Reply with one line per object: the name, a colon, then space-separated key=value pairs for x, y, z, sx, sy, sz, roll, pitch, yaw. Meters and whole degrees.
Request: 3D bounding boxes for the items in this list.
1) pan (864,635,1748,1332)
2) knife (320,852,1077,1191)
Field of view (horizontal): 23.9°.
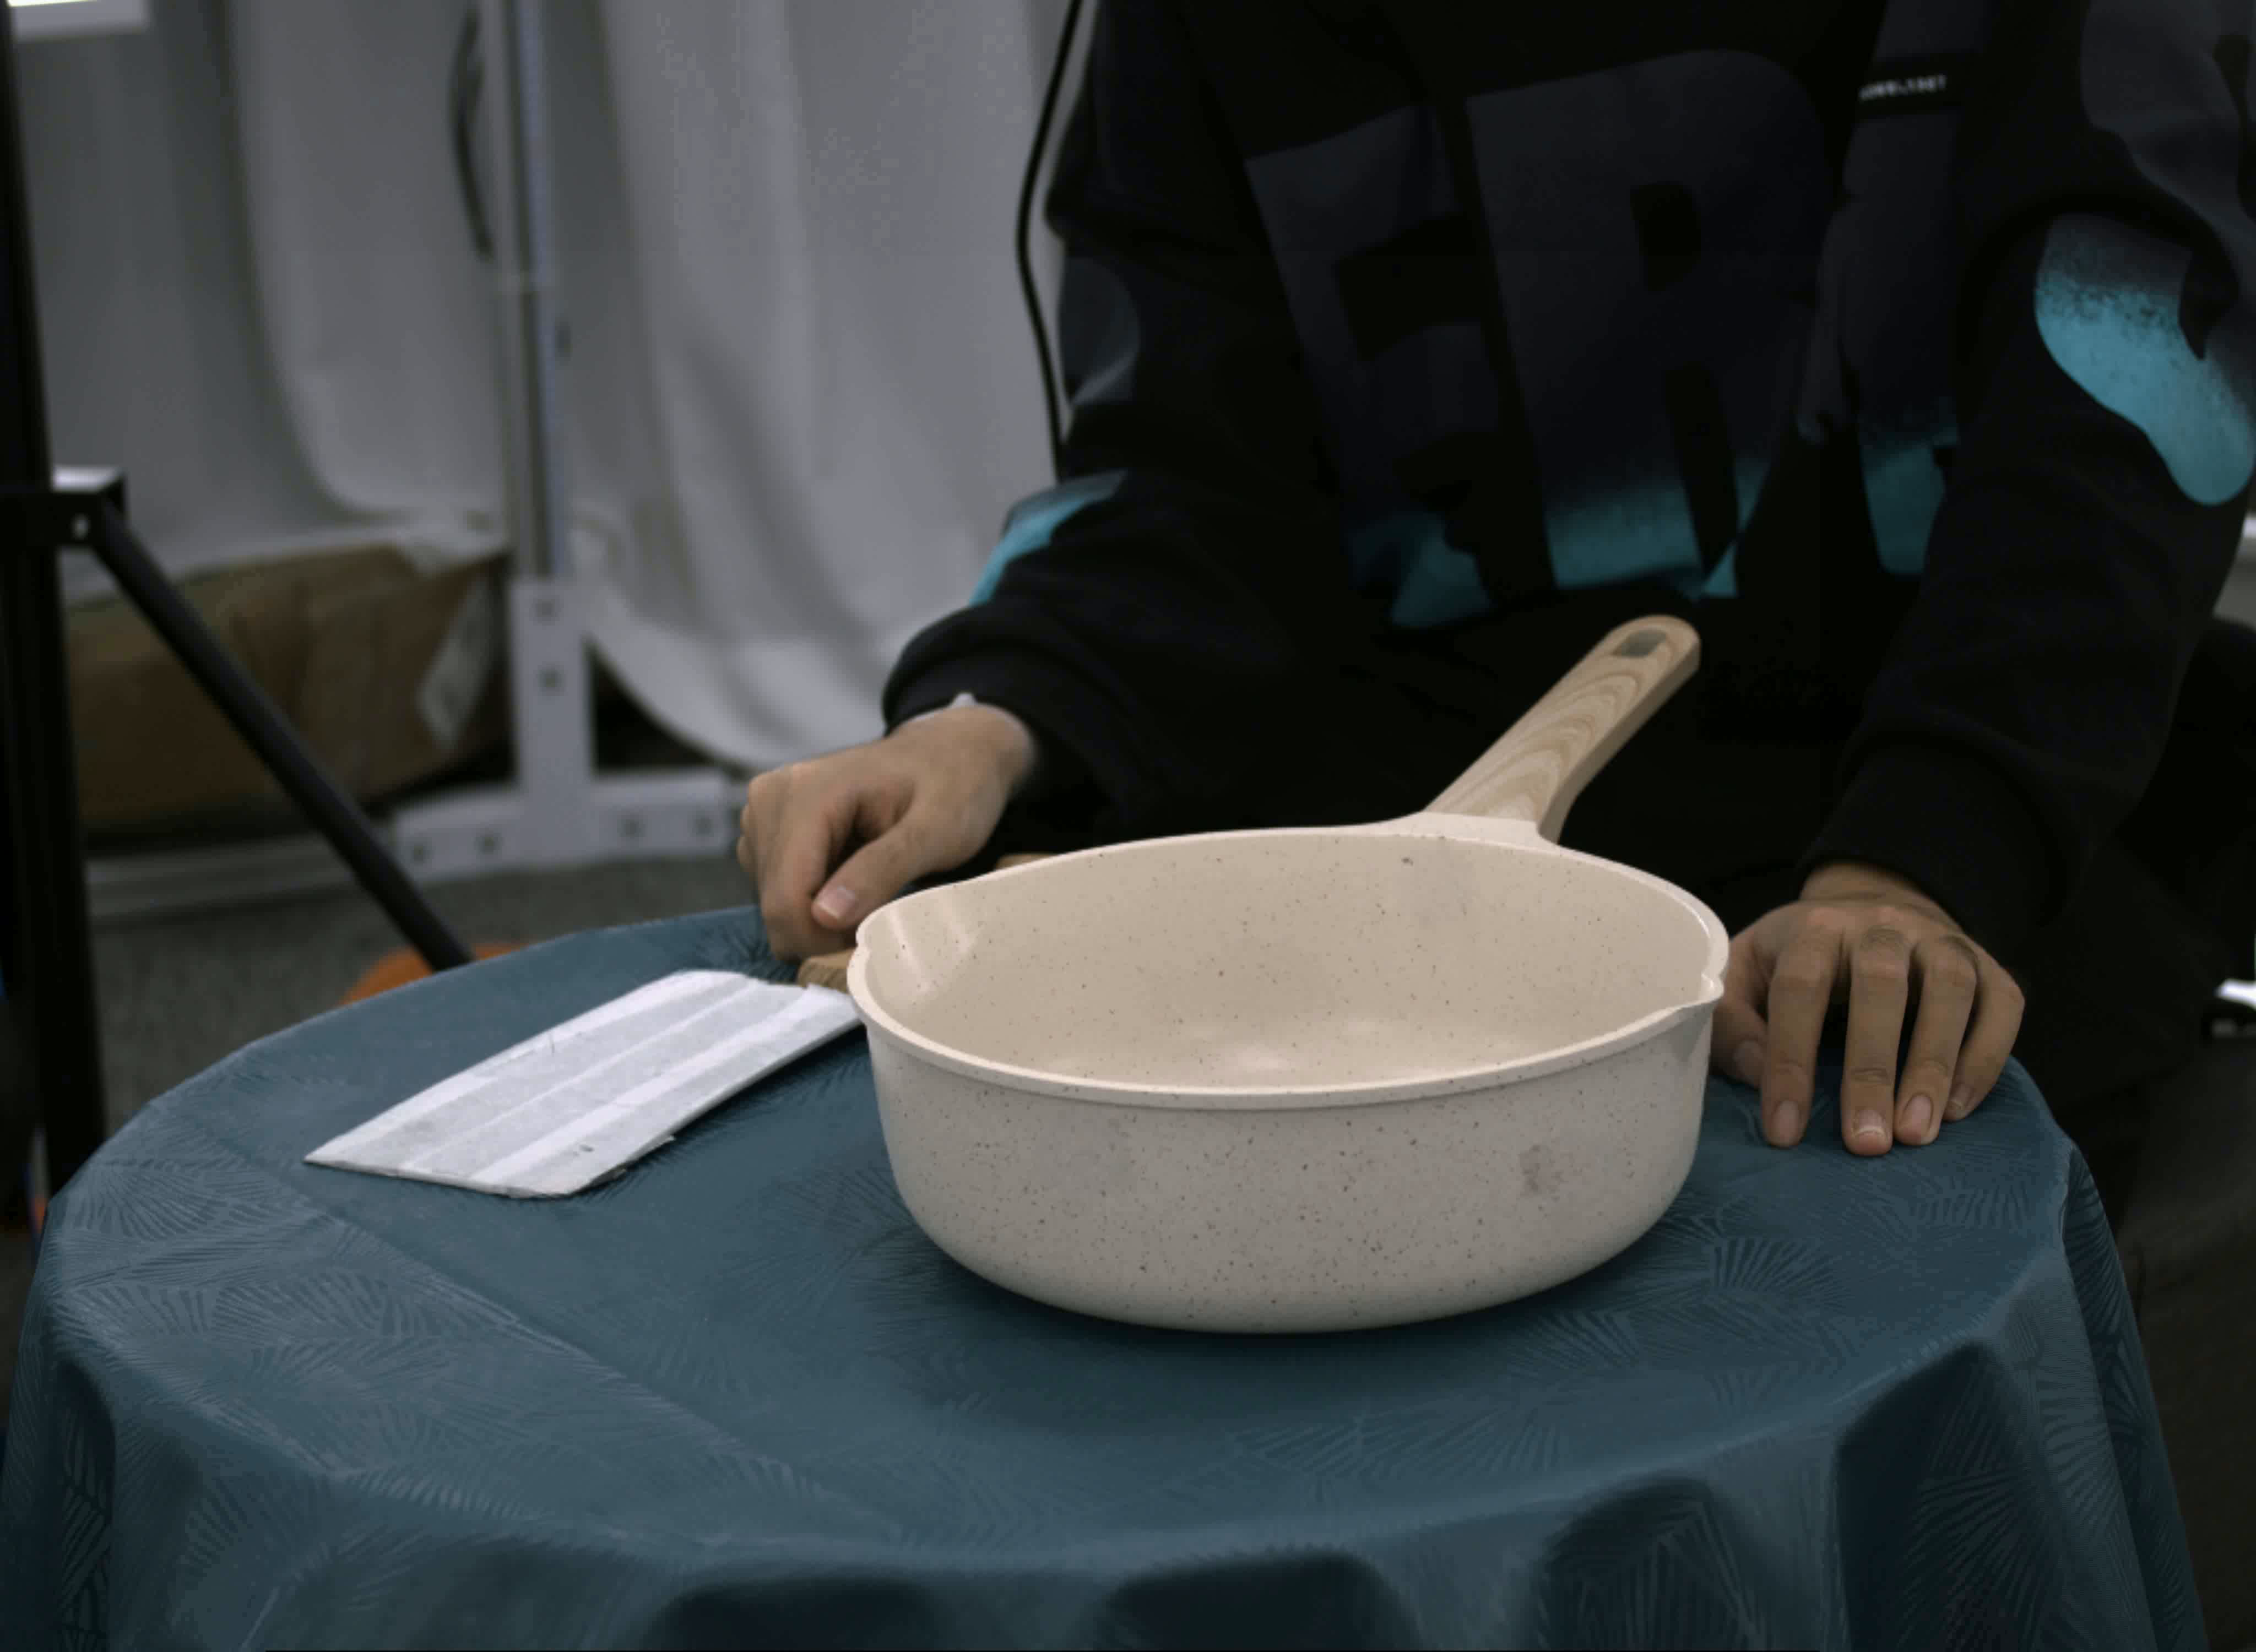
pan: x=0.089 y=0.043 z=1.593 sx=0.267 sy=0.102 sz=0.428 roll=3 pitch=16 yaw=26
knife: x=-0.120 y=0.063 z=1.707 sx=0.116 sy=0.022 sz=0.309 roll=9 pitch=22 yaw=38
